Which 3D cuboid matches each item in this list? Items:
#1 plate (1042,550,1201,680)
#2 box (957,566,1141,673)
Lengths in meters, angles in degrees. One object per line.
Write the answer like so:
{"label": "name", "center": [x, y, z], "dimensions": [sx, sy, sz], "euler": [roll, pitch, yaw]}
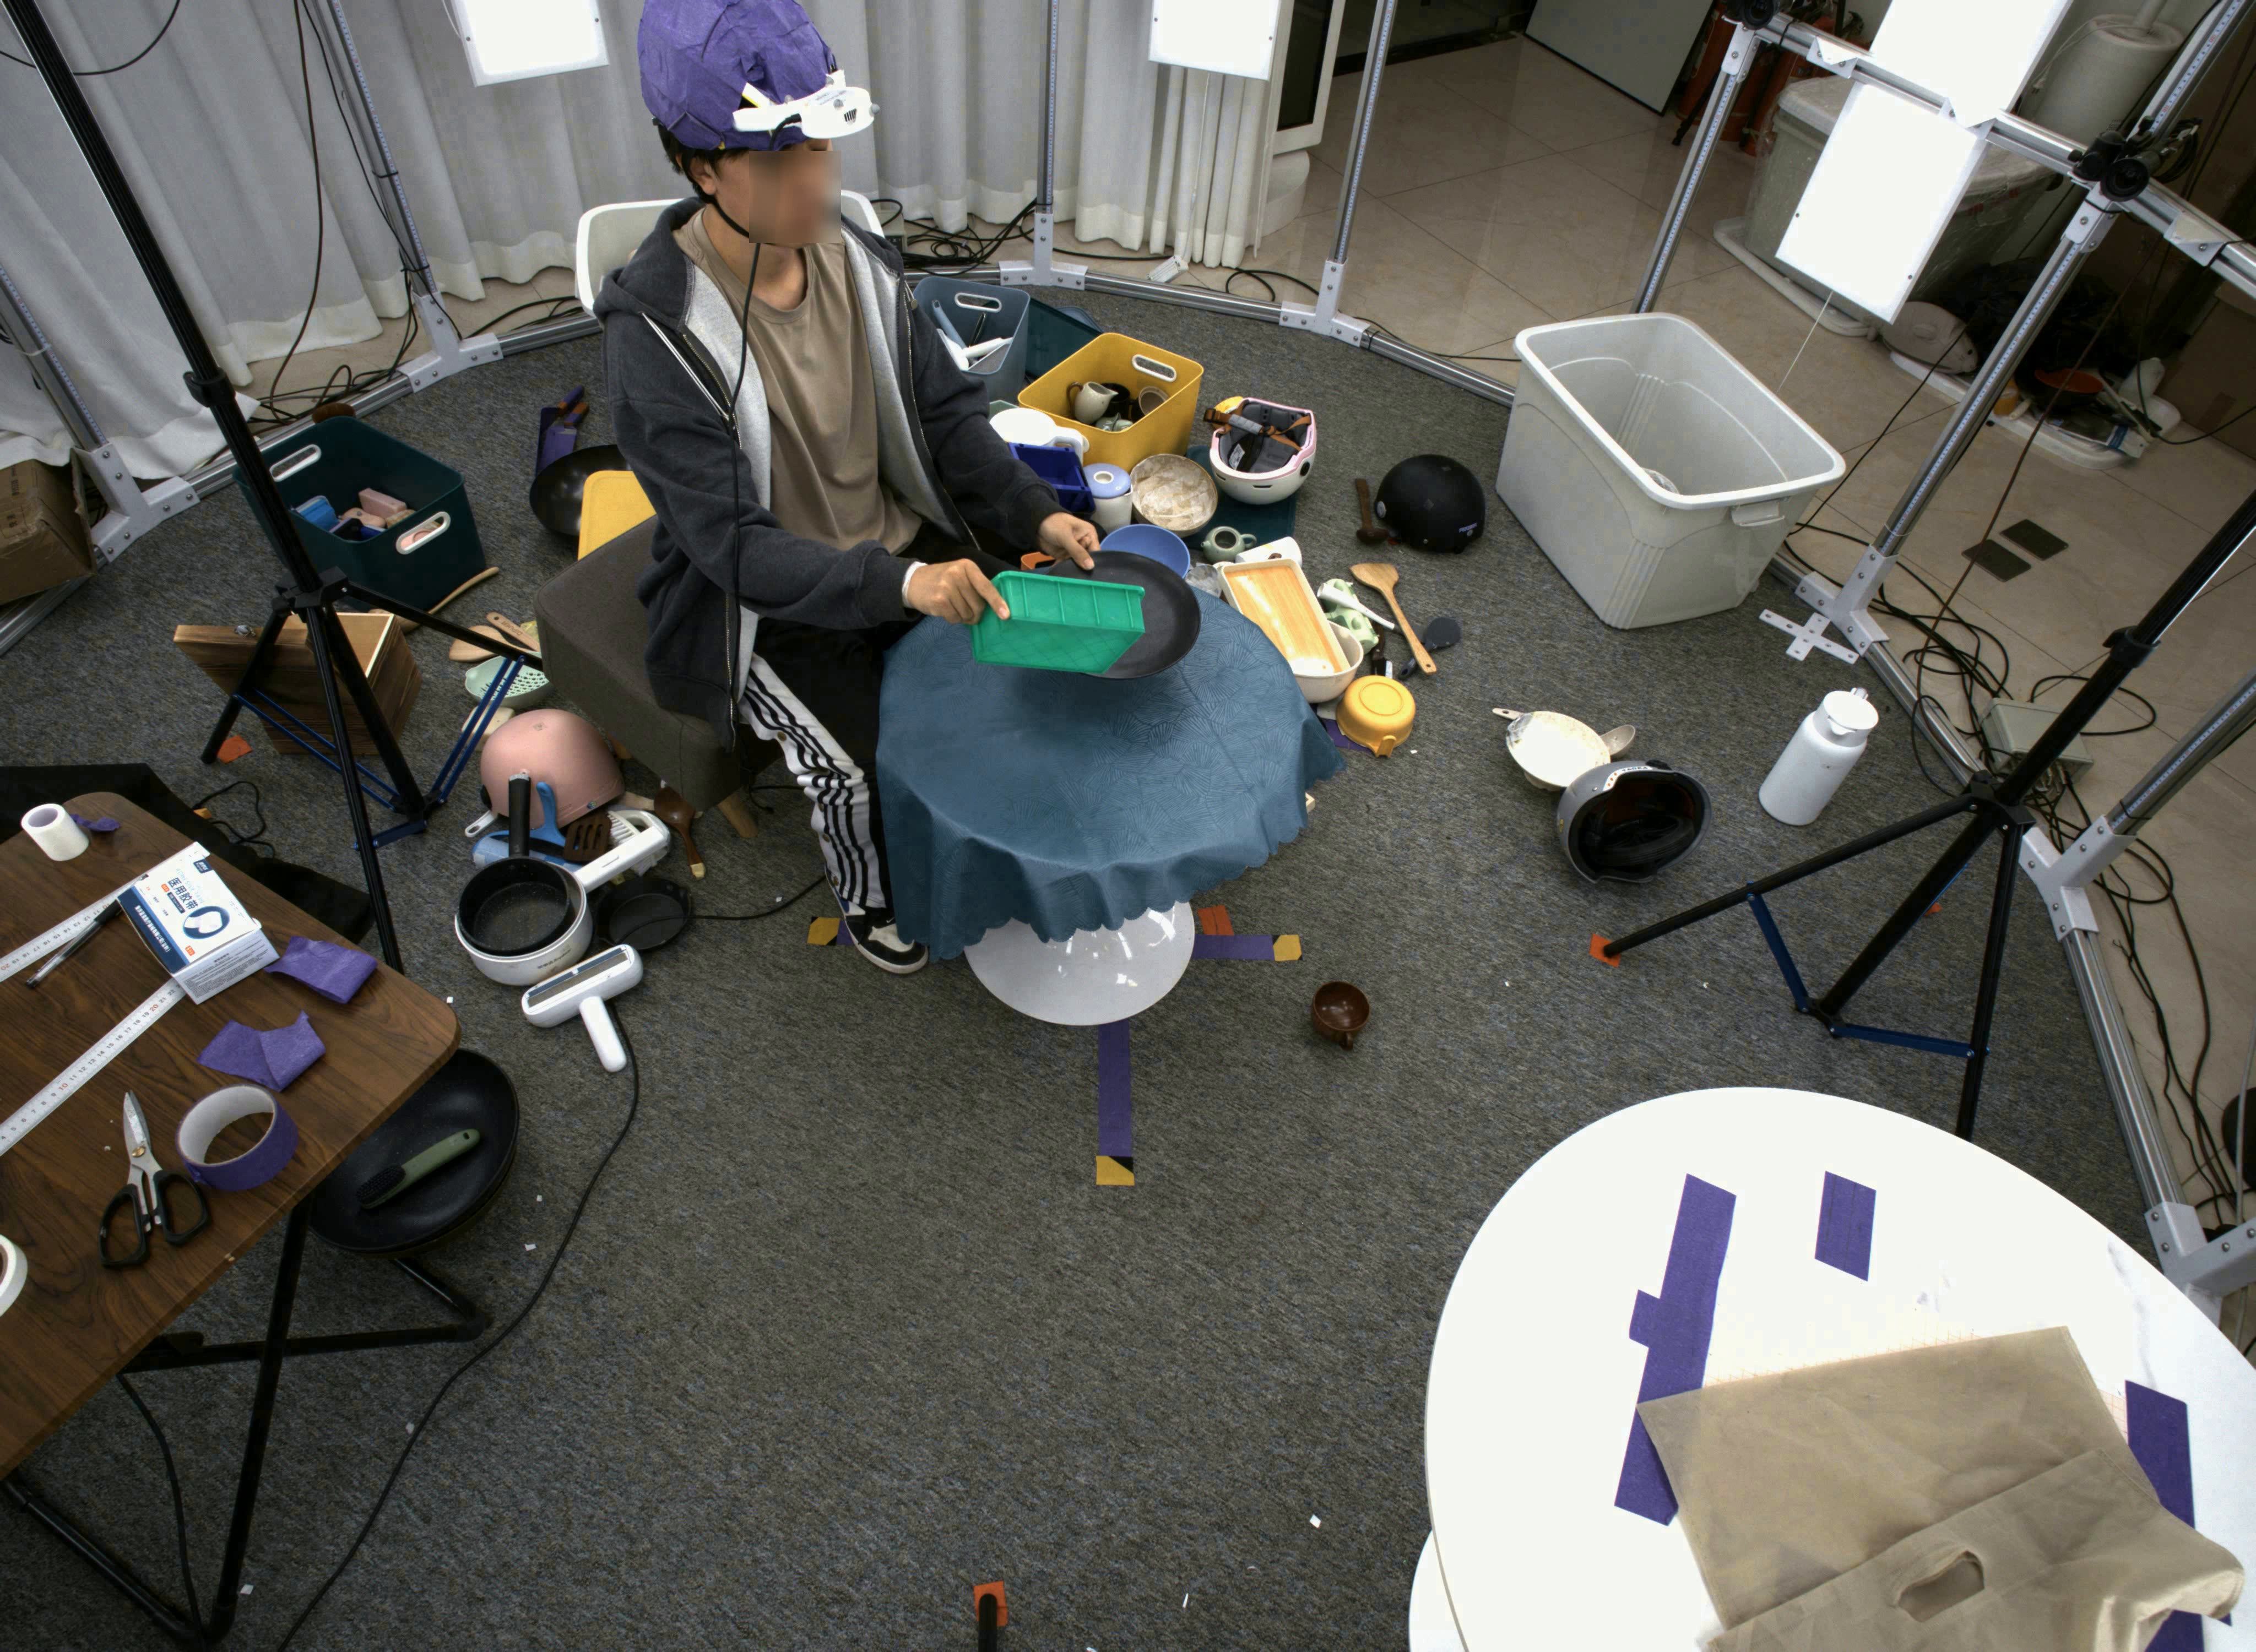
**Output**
{"label": "plate", "center": [-0.021, -0.292, 1.796], "dimensions": [0.244, 0.023, 0.250], "euler": [1, 55, -2]}
{"label": "box", "center": [-0.093, -0.249, 1.584], "dimensions": [0.209, 0.137, 0.066], "euler": [0, 67, -30]}
